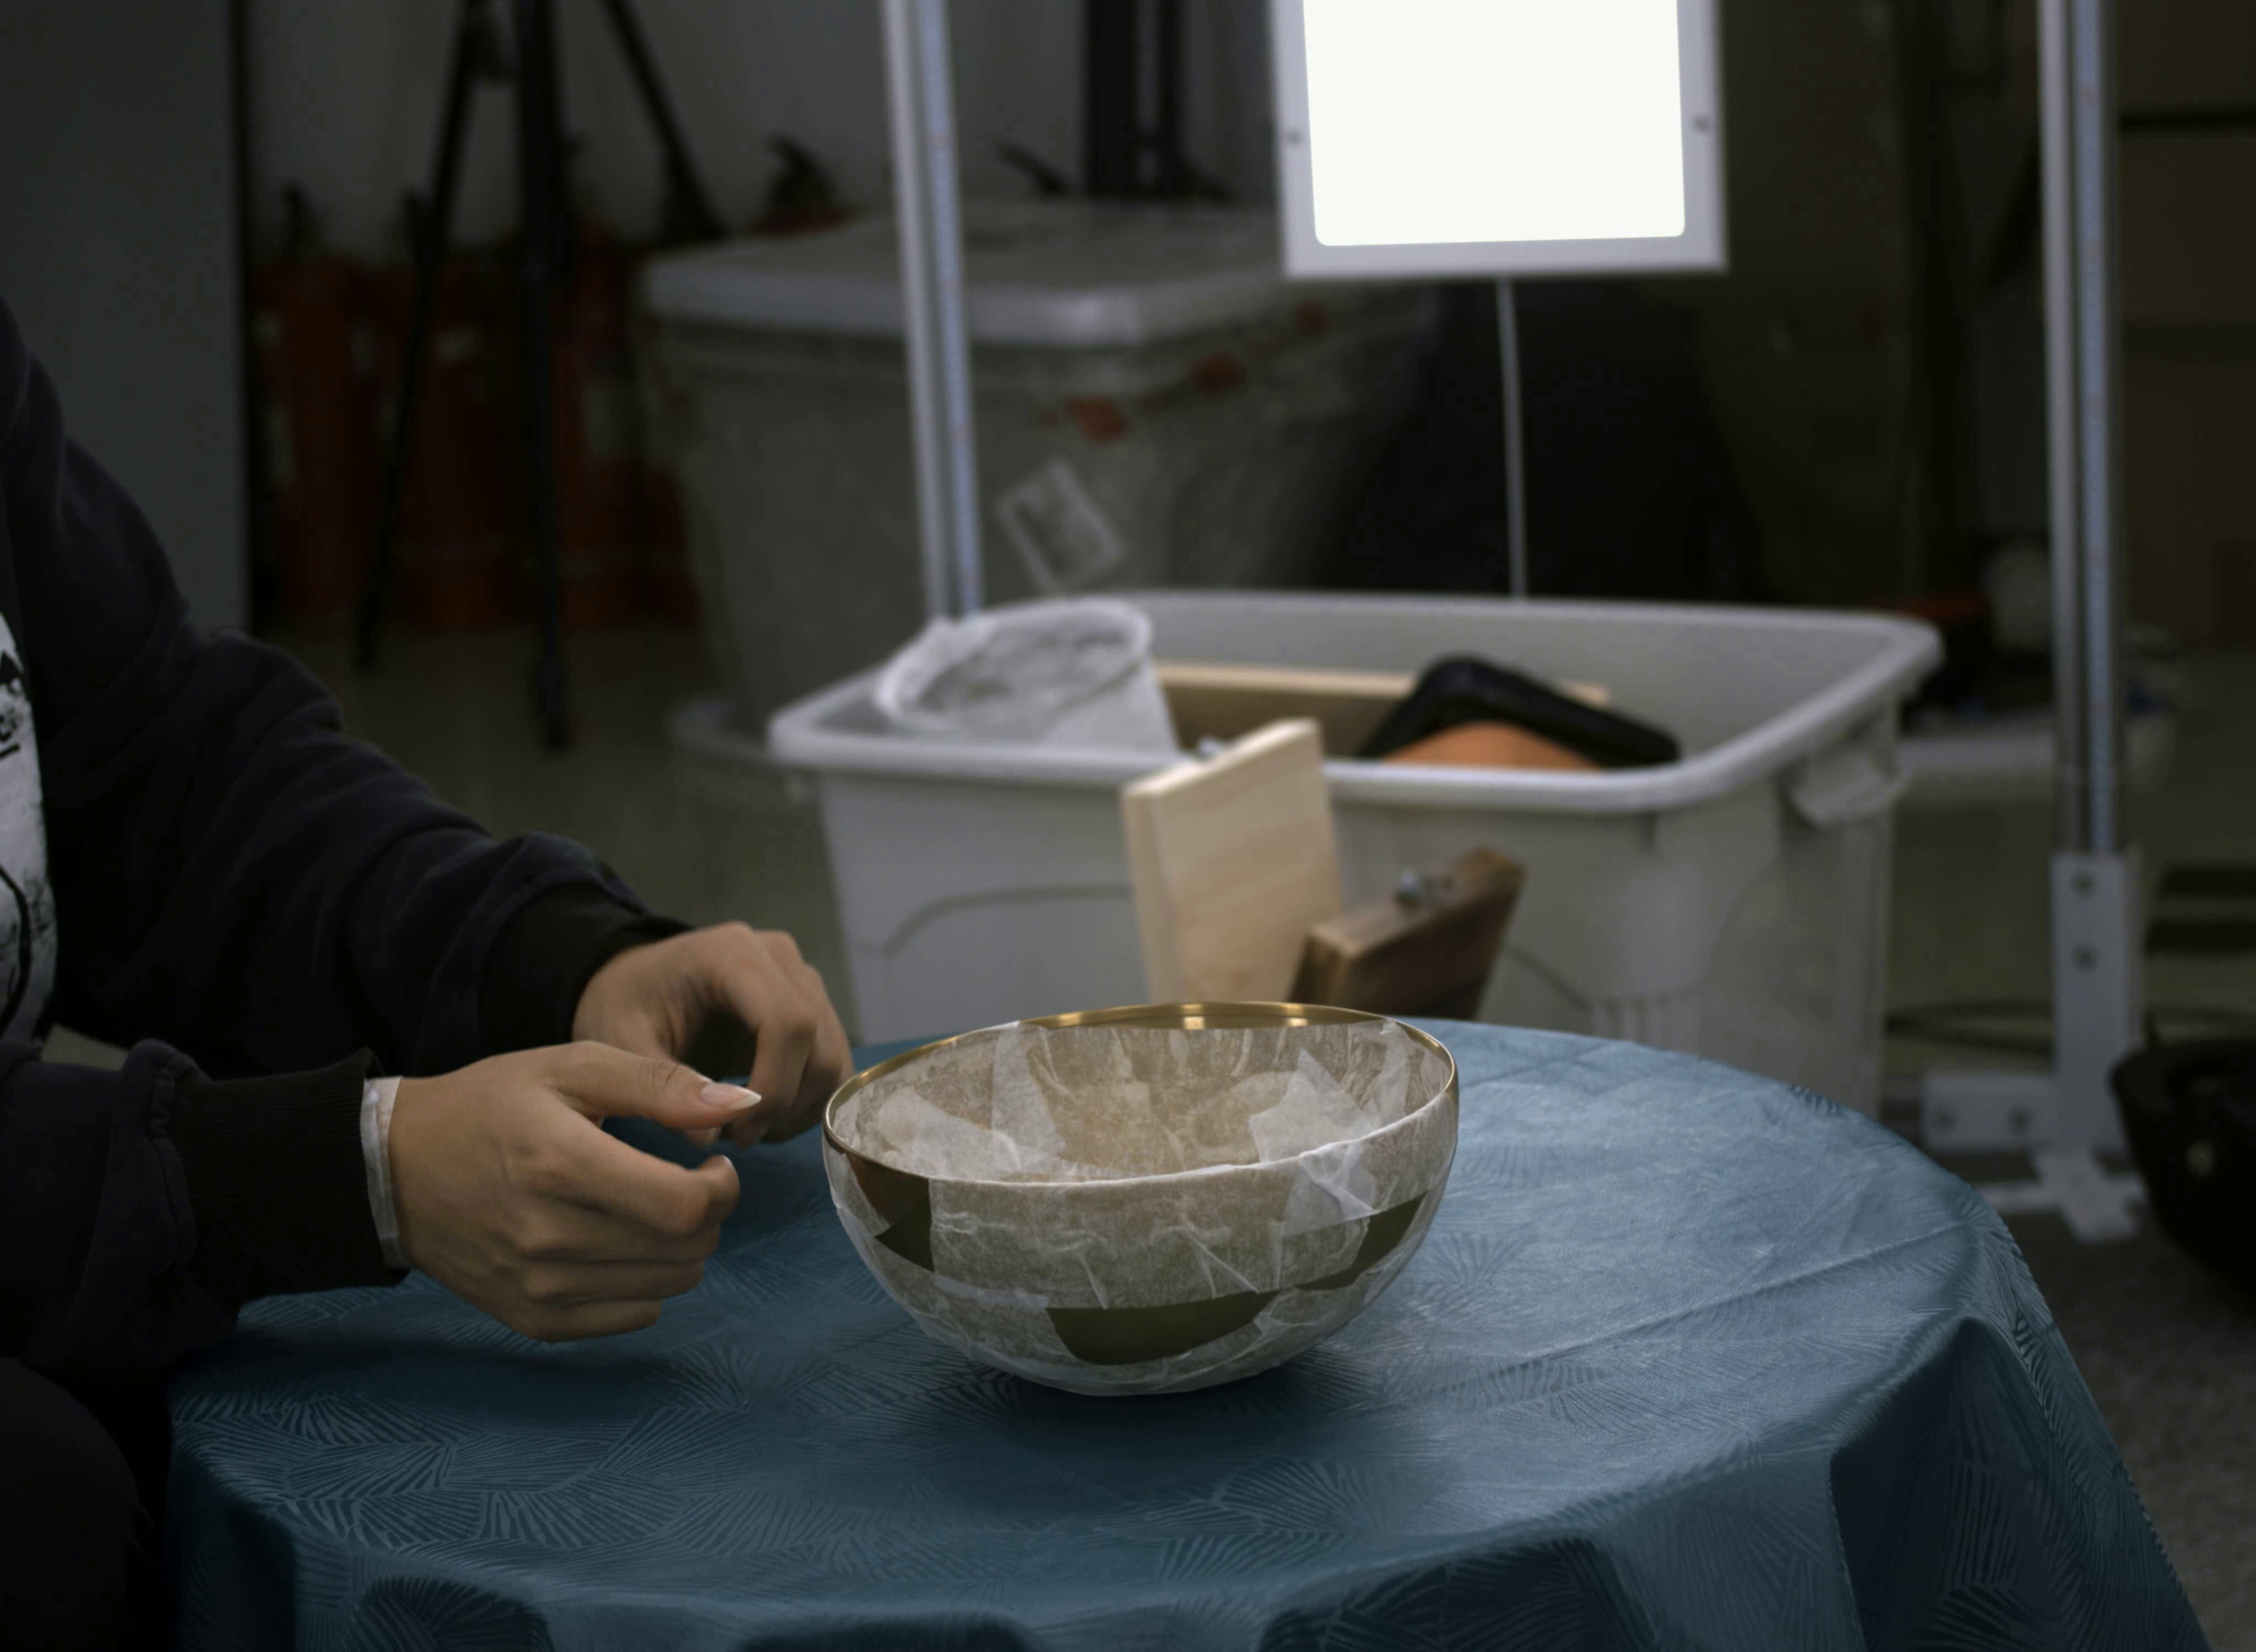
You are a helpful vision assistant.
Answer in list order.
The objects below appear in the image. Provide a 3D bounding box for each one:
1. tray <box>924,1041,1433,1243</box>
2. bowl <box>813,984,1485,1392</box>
[{"bbox_3d":[0.016,0.110,1.930,0.099,0.020,0.236,-17,20,-32],"label":"tray"},{"bbox_3d":[0.009,0.121,1.719,0.214,0.095,0.214,-6,14,0],"label":"bowl"}]
